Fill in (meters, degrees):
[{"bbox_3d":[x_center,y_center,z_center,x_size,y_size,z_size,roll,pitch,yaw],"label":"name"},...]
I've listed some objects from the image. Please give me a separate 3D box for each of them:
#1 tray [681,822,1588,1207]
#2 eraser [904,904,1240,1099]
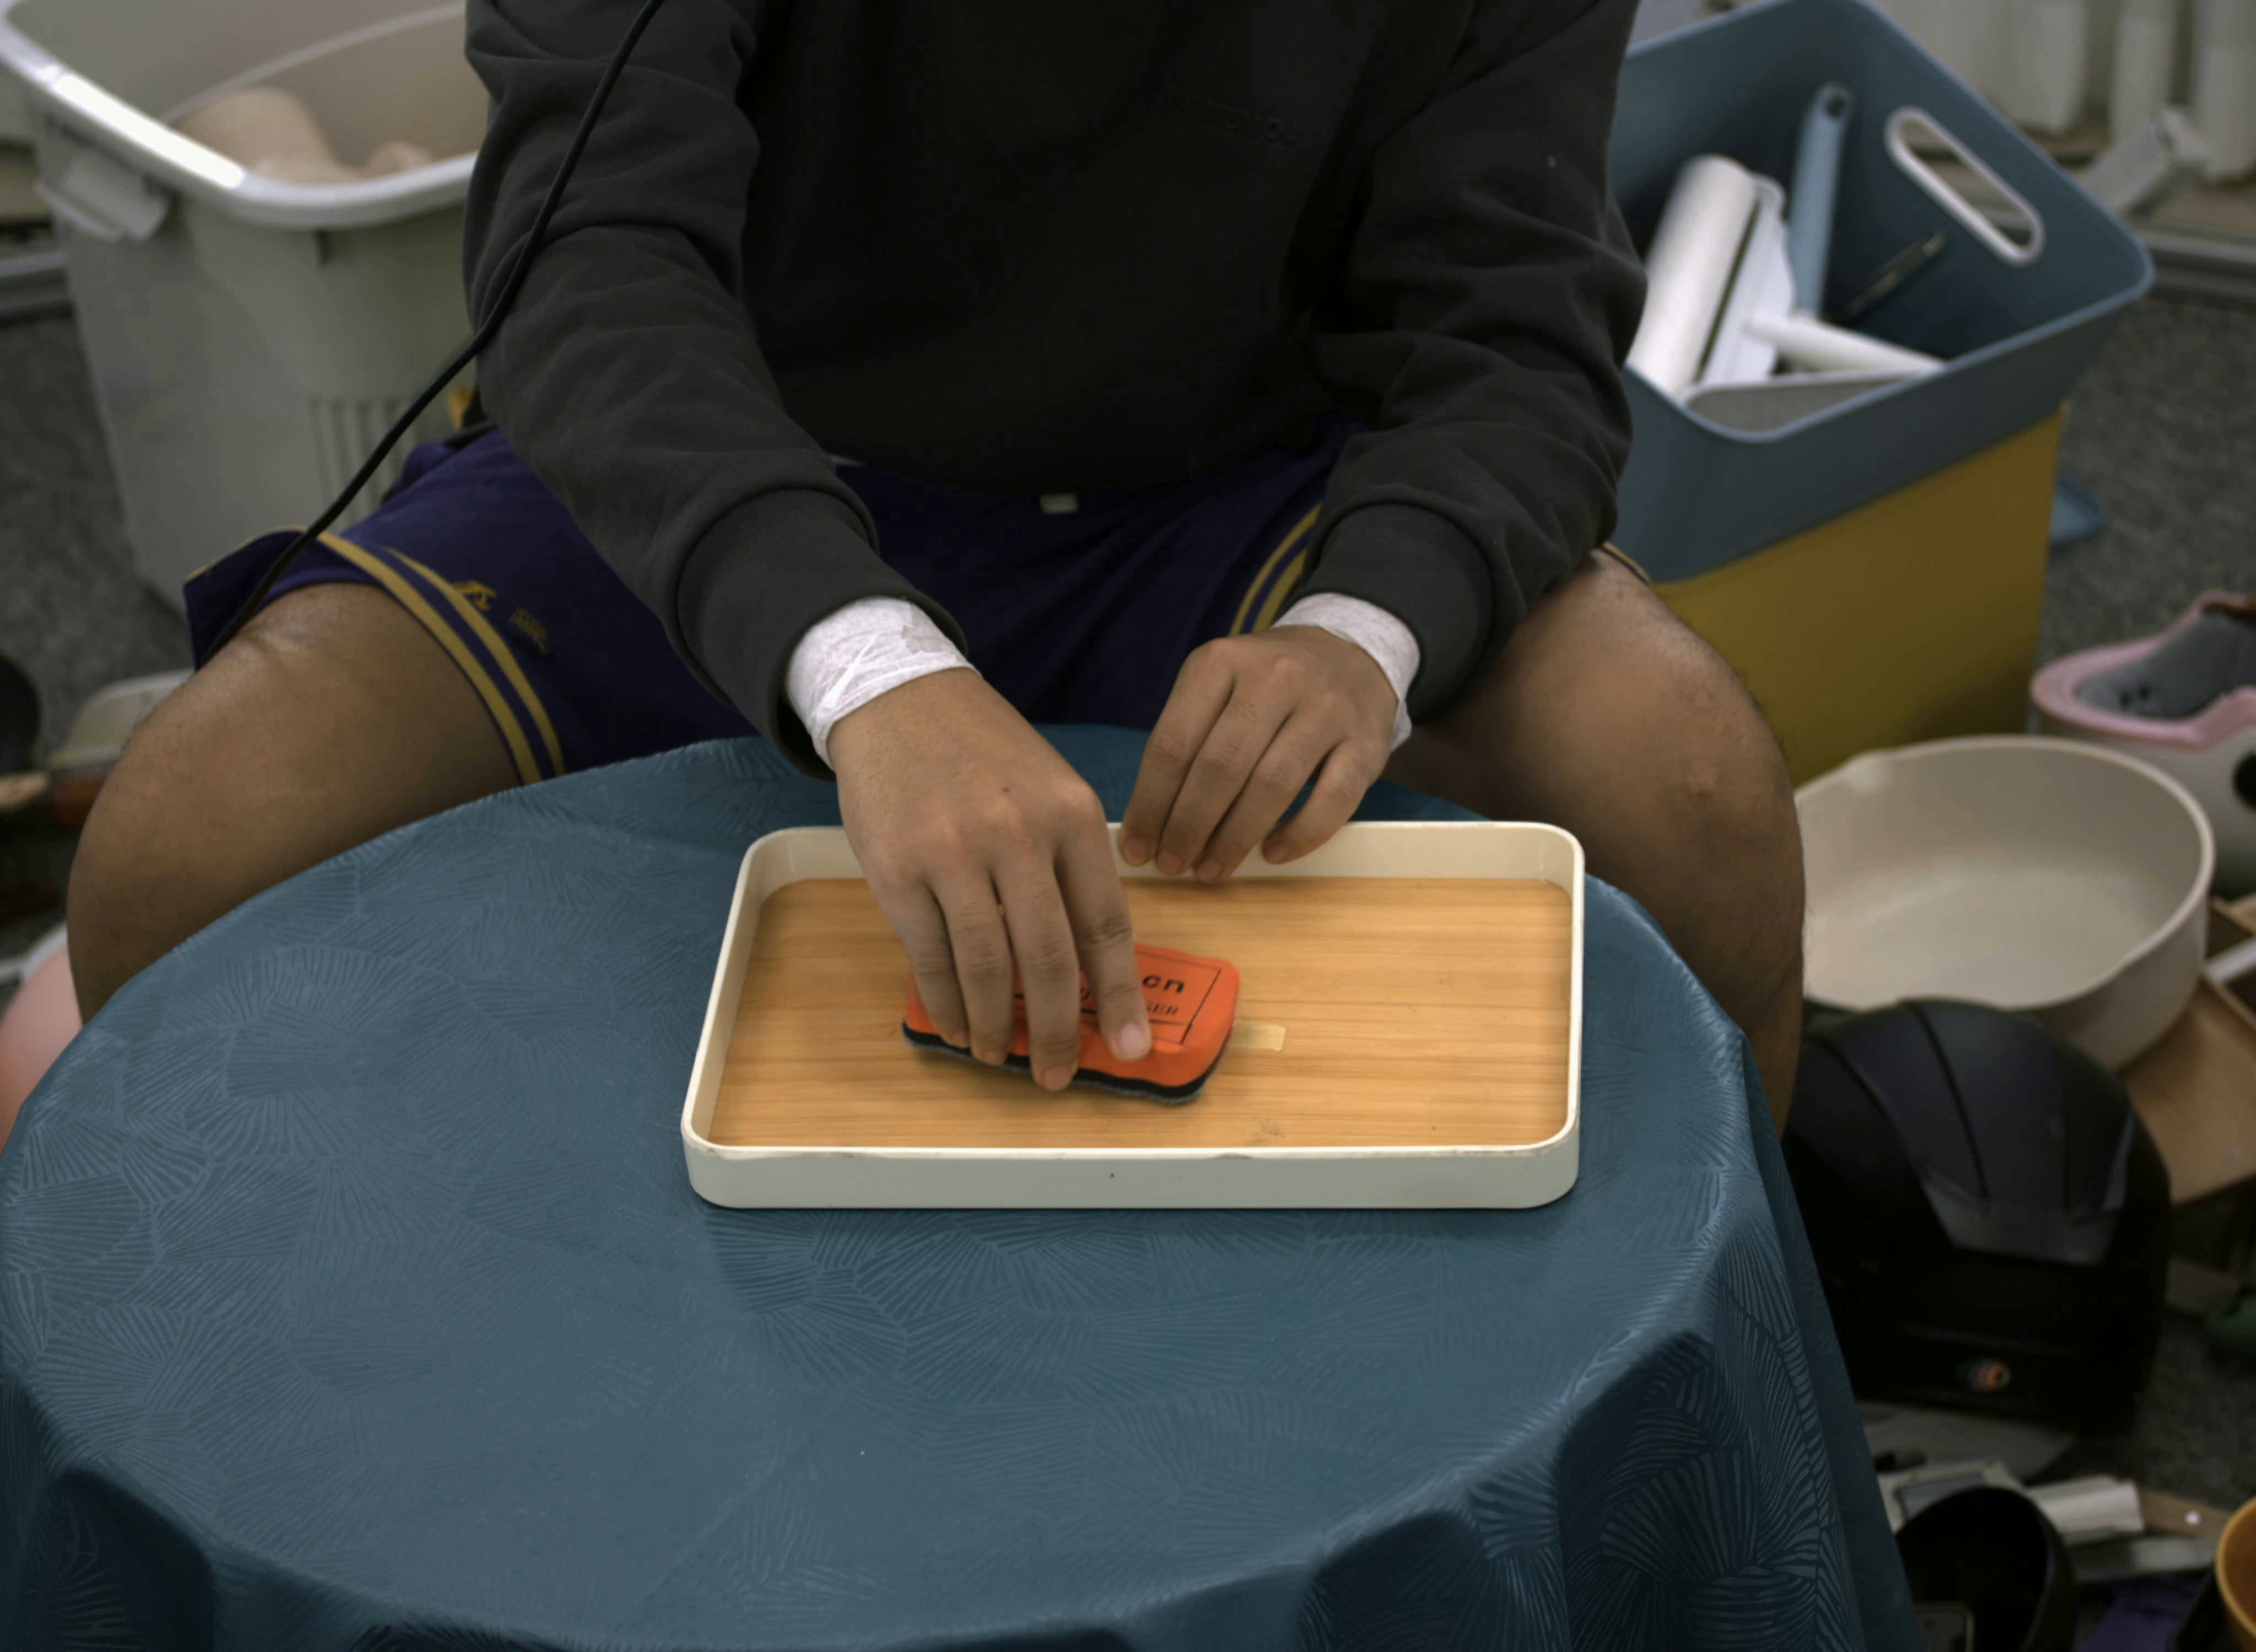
[{"bbox_3d":[0.006,0.063,1.923,0.298,0.027,0.195,0,34,5],"label":"tray"},{"bbox_3d":[-0.019,0.059,1.916,0.107,0.022,0.060,11,36,16],"label":"eraser"}]
